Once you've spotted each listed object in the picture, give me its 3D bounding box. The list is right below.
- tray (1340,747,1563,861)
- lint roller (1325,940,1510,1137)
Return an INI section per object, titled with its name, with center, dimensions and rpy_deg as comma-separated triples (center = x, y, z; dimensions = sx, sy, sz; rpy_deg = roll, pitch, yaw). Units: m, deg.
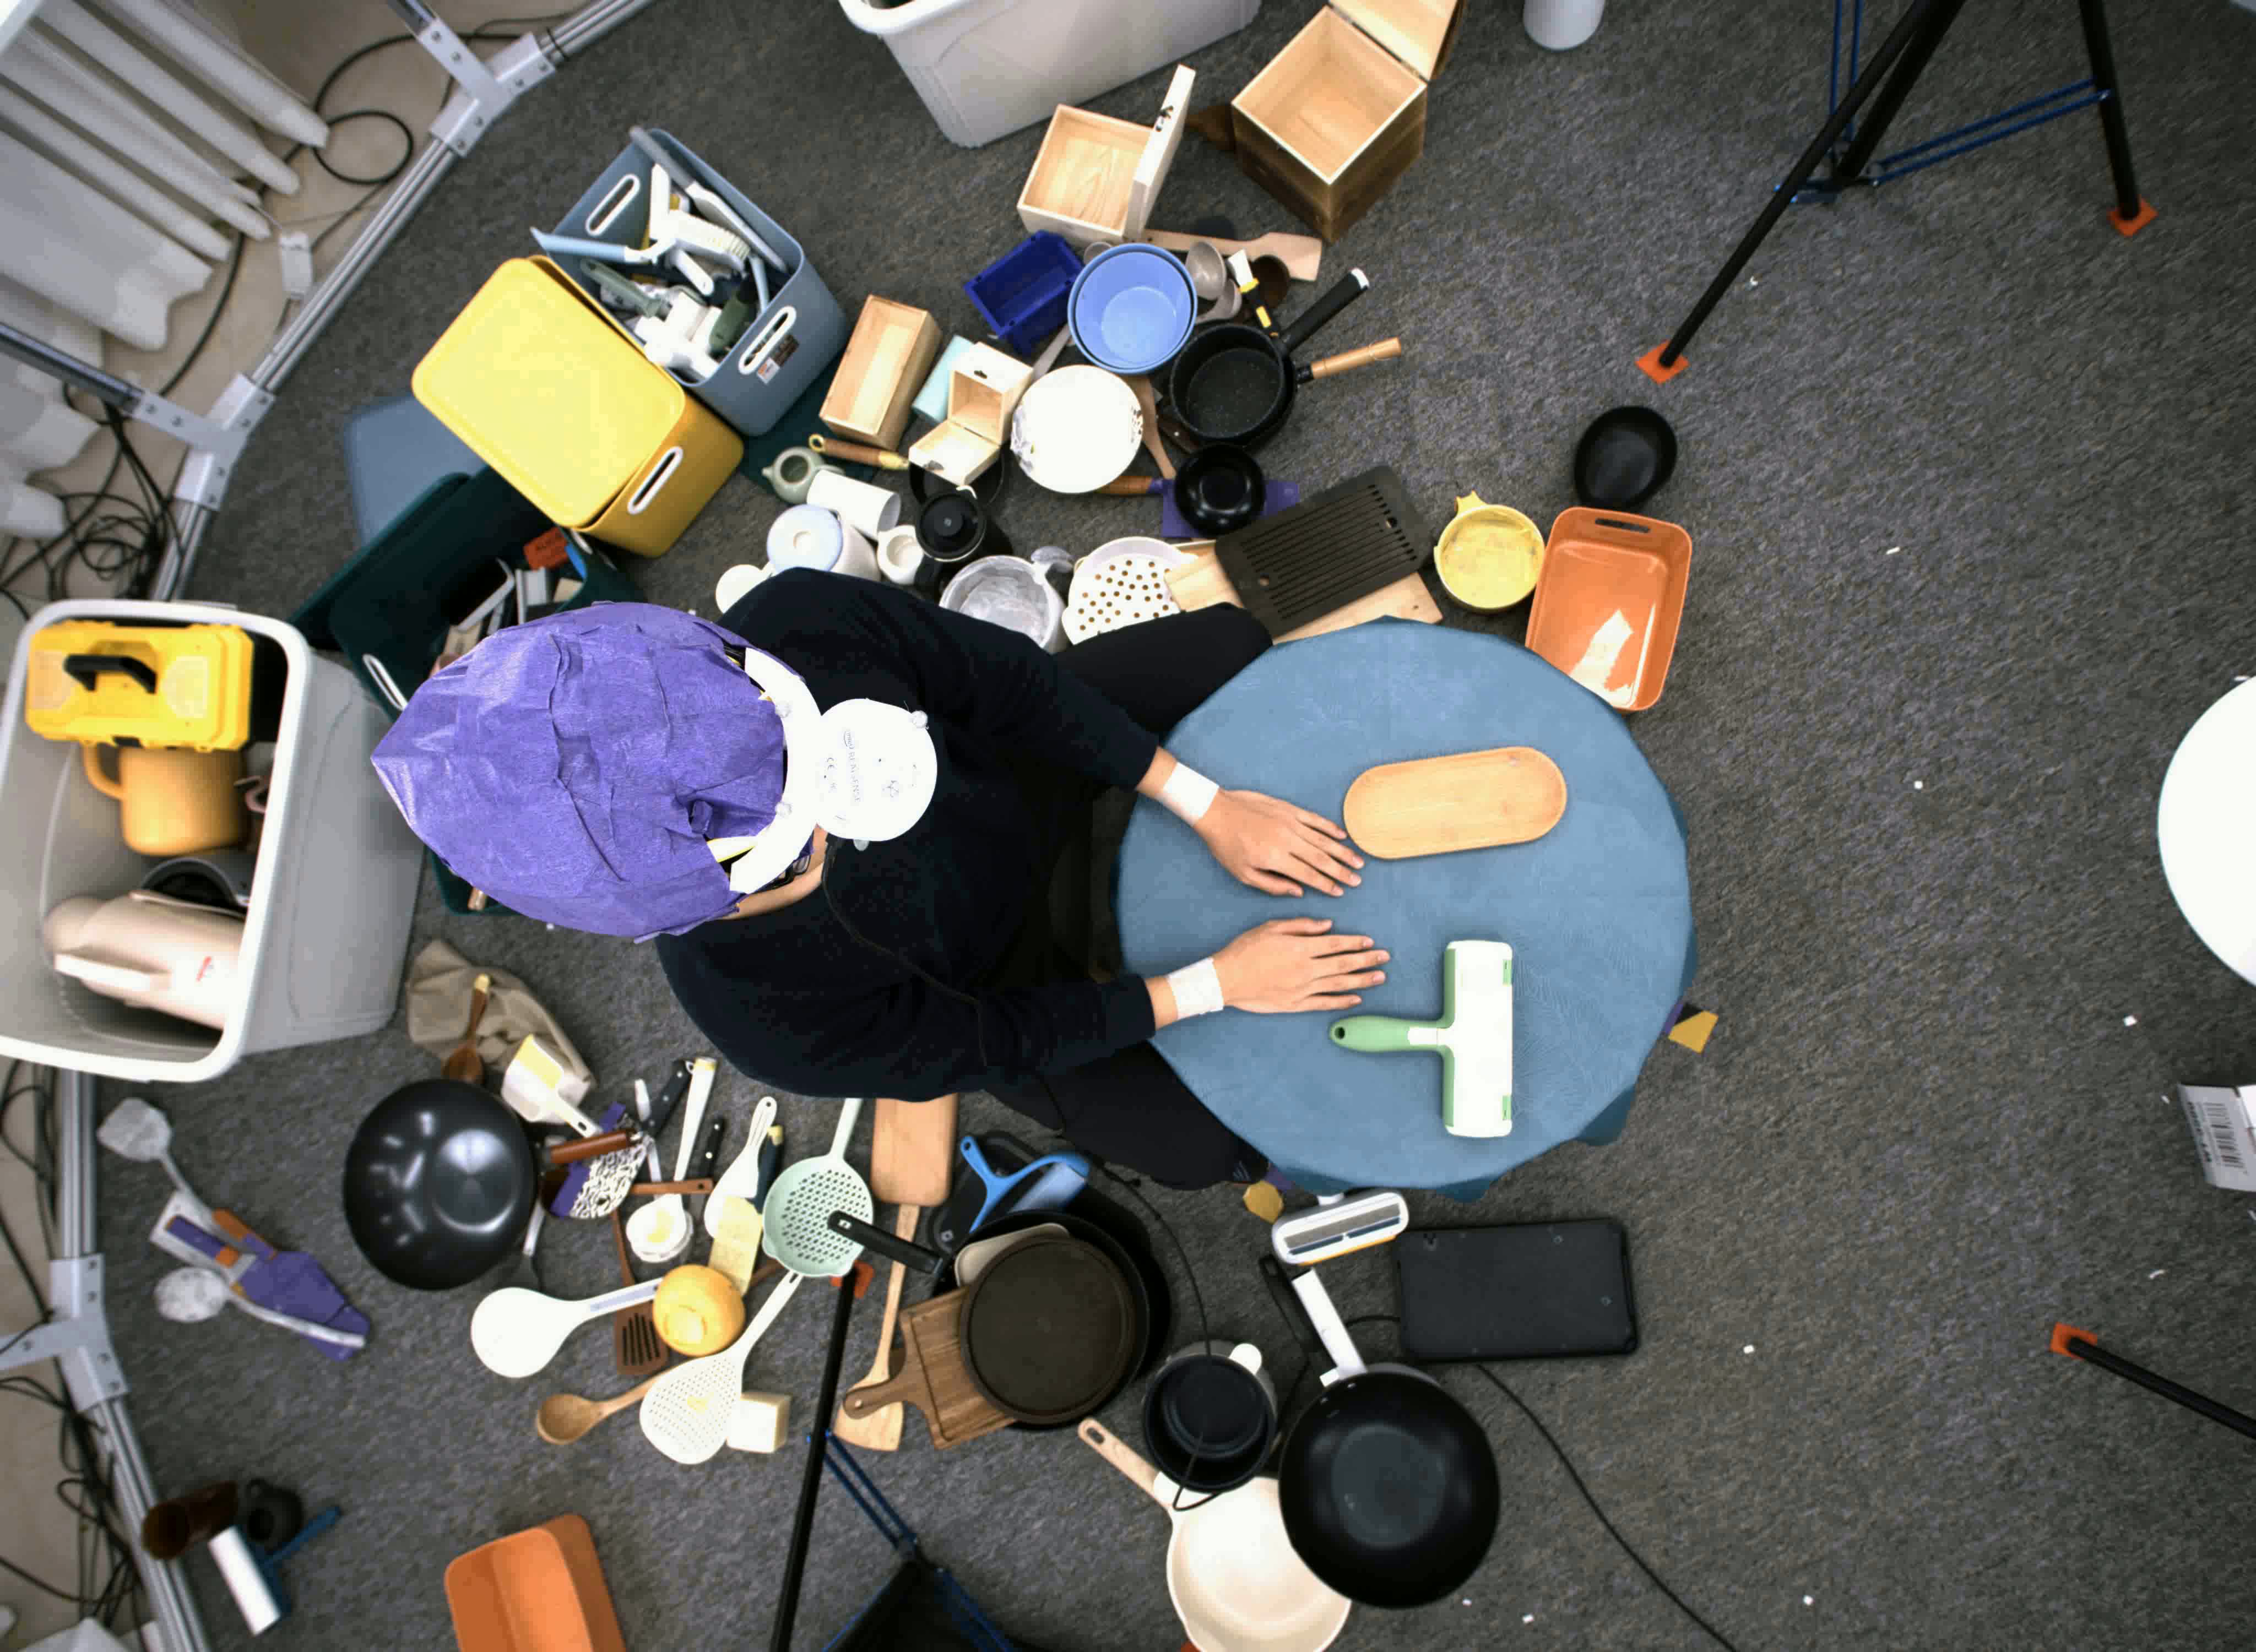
[tray]
center = 0.339, -0.024, 1.444
dimensions = 0.232, 0.020, 0.101
rpy_deg = -9, 85, 11
[lint roller]
center = 0.295, 0.212, 1.403
dimensions = 0.184, 0.082, 0.197
rpy_deg = 1, 86, 4
